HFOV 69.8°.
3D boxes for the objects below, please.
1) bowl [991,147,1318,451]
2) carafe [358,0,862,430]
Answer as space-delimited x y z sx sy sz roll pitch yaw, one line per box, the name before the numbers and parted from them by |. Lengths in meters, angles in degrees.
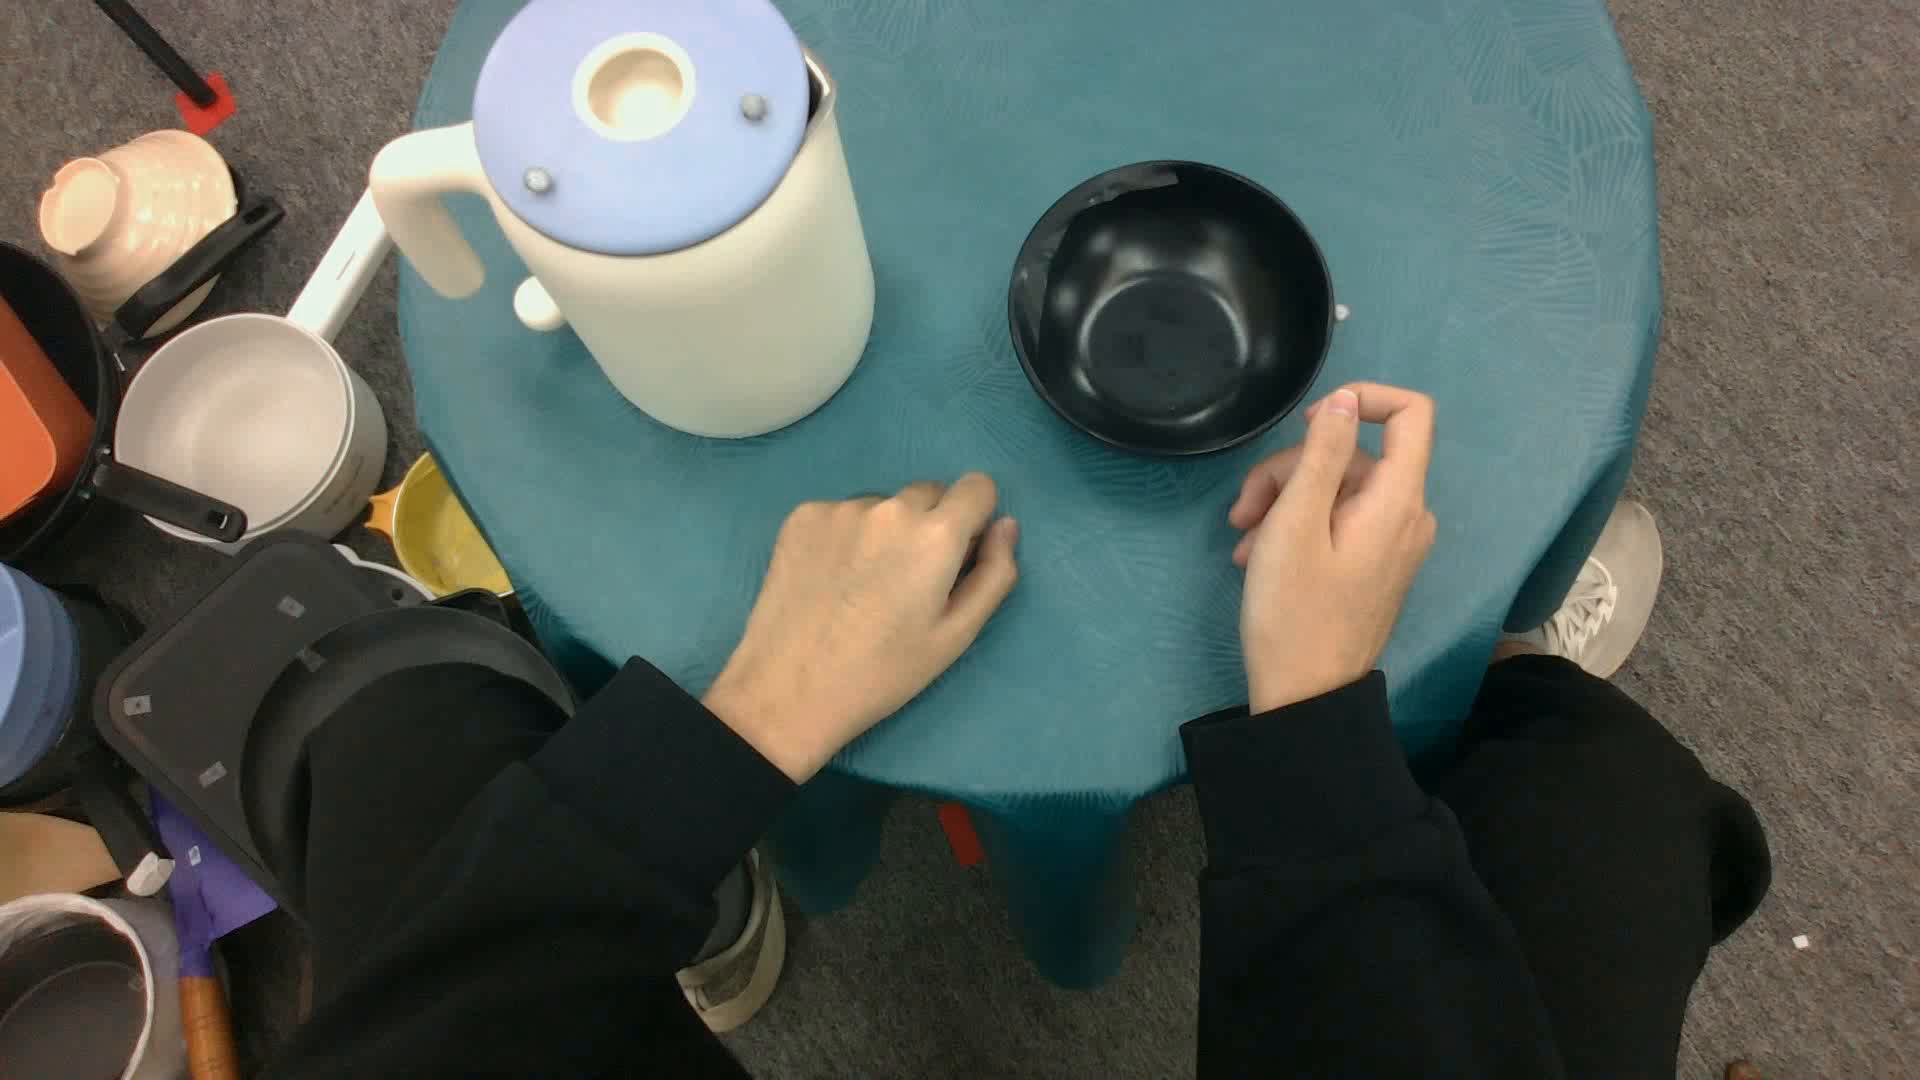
bowl | 0.084 -0.100 0.609 0.140 0.049 0.140 0 75 2
carafe | -0.137 -0.130 0.562 0.191 0.182 0.132 -7 72 2
